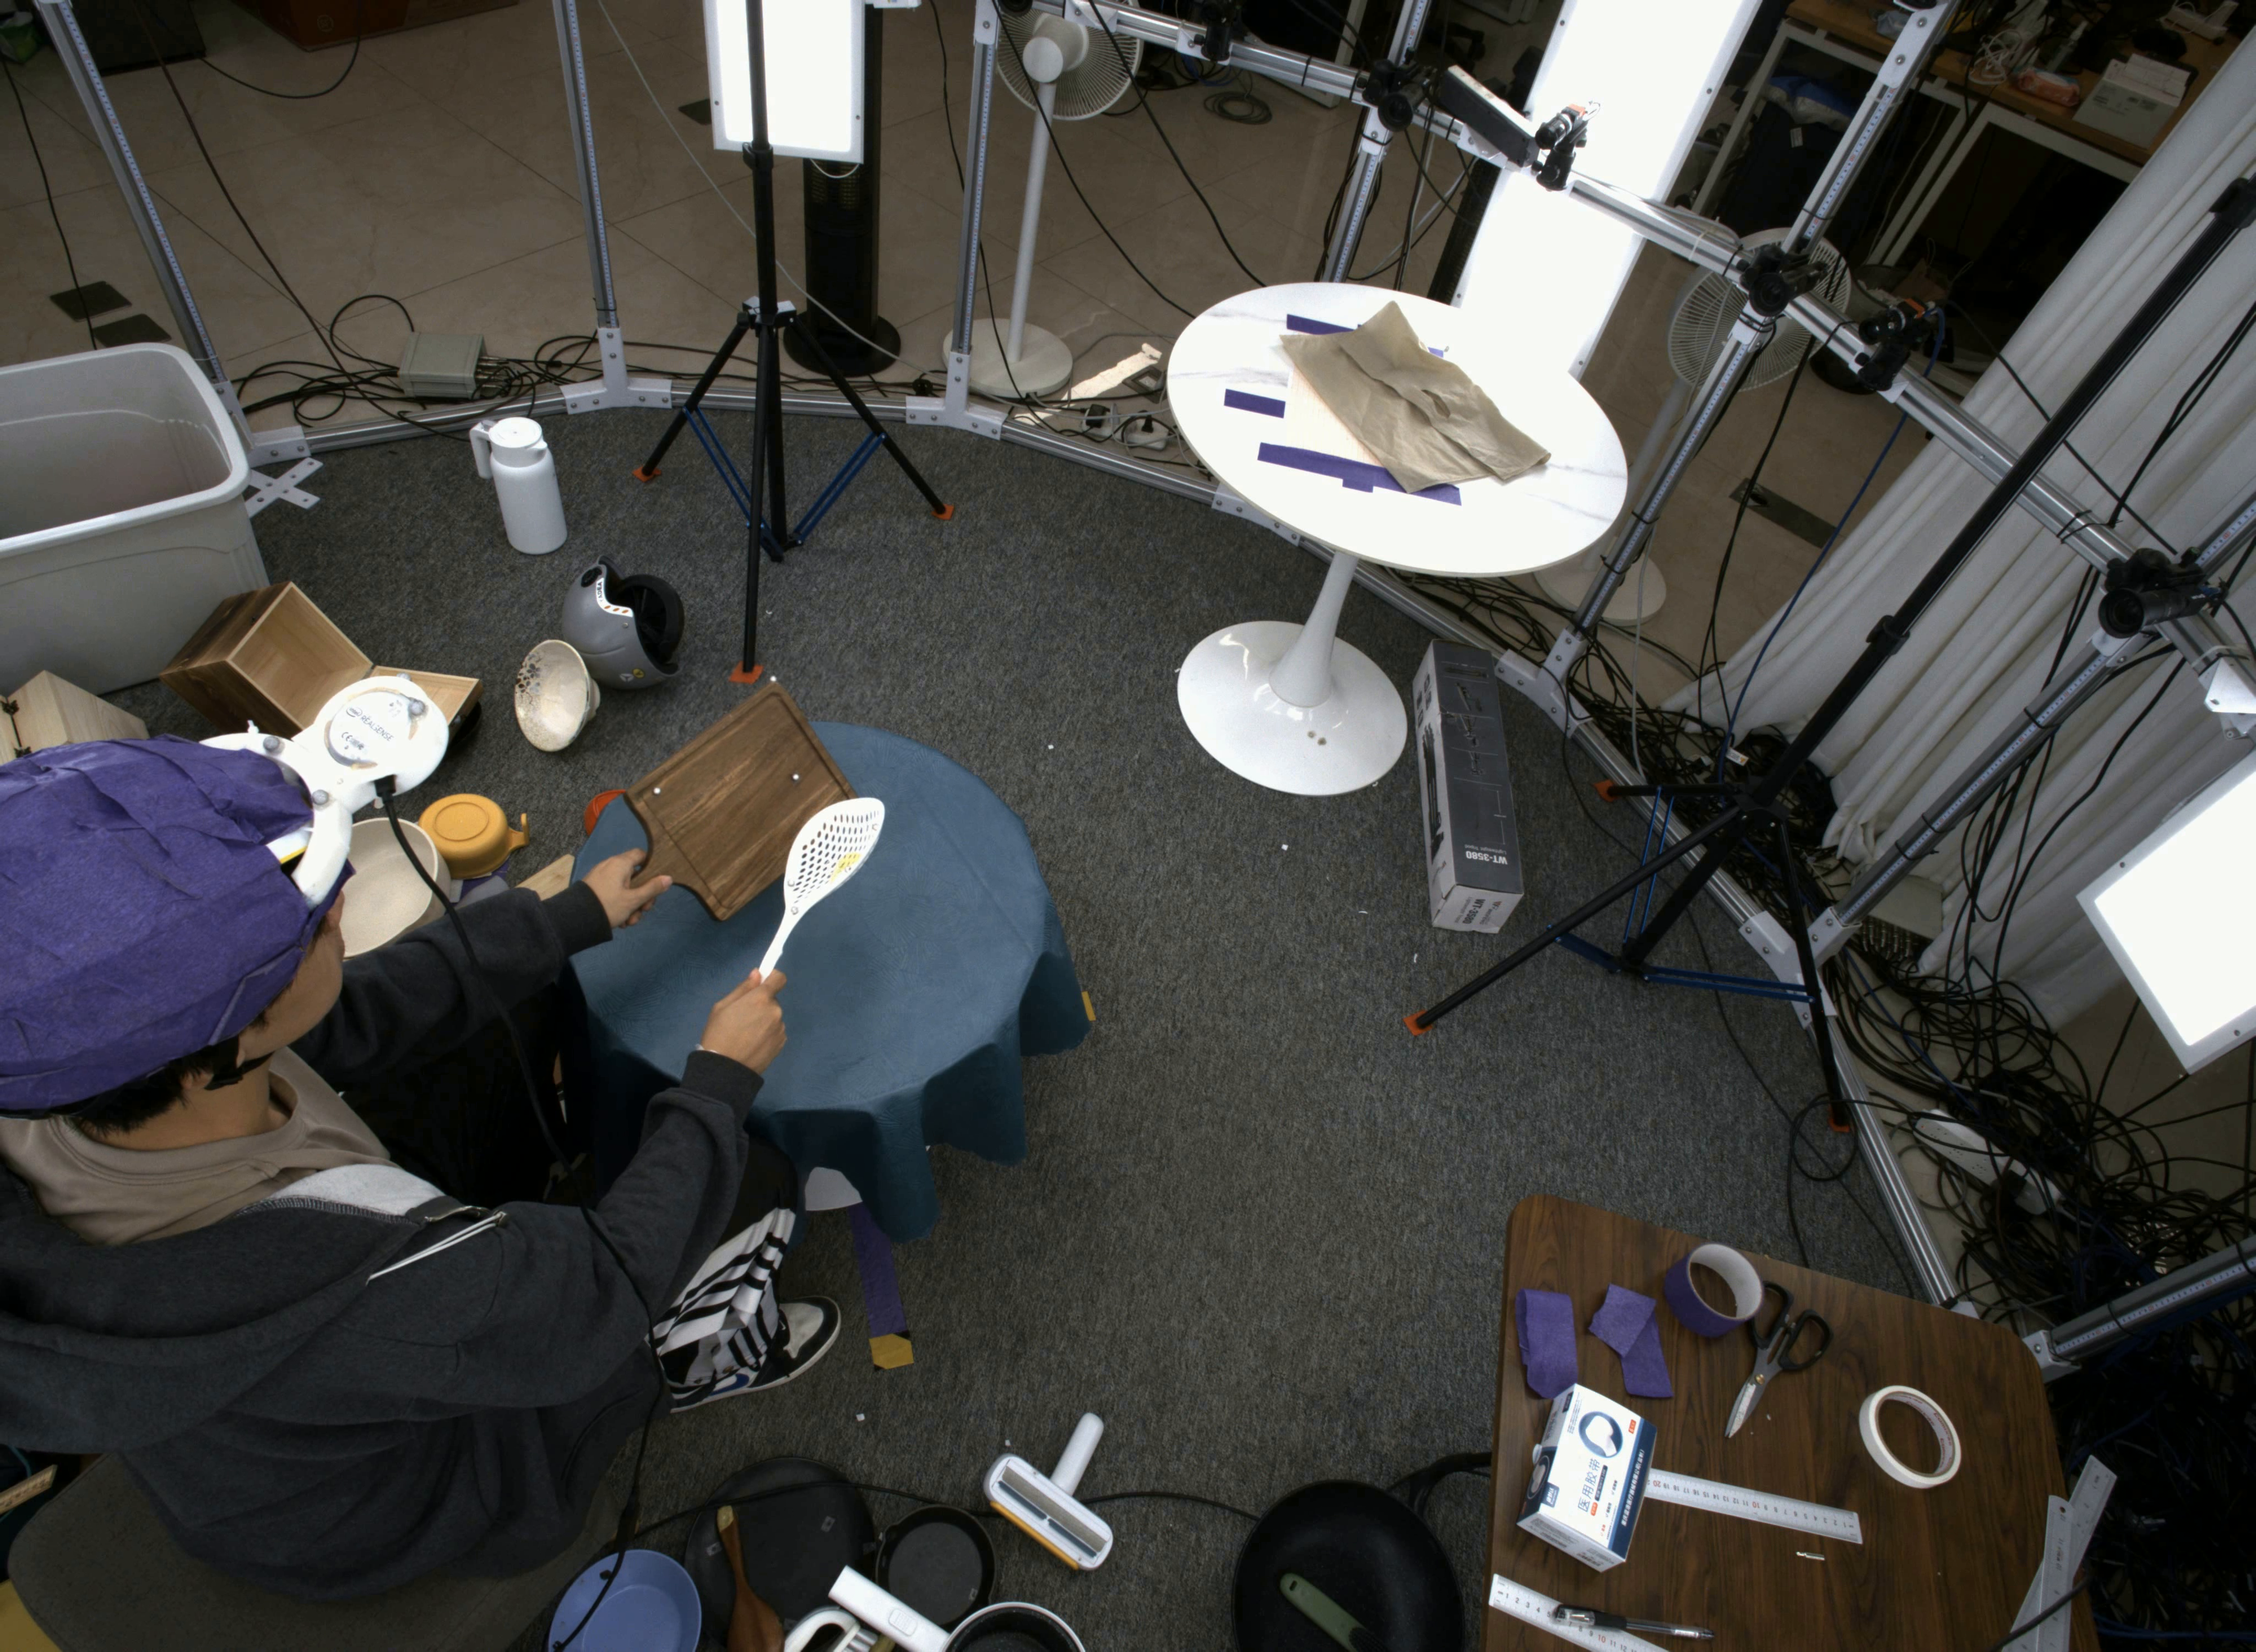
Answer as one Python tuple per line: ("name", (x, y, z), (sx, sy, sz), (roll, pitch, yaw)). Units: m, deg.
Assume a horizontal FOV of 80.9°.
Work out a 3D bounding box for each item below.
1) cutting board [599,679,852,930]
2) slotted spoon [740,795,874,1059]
("cutting board", (-0.503, -0.001, 1.550), (0.351, 0.022, 0.207), (-48, 118, -35))
("slotted spoon", (-0.379, 0.104, 1.473), (0.133, 0.052, 0.344), (-7, 44, 29))
